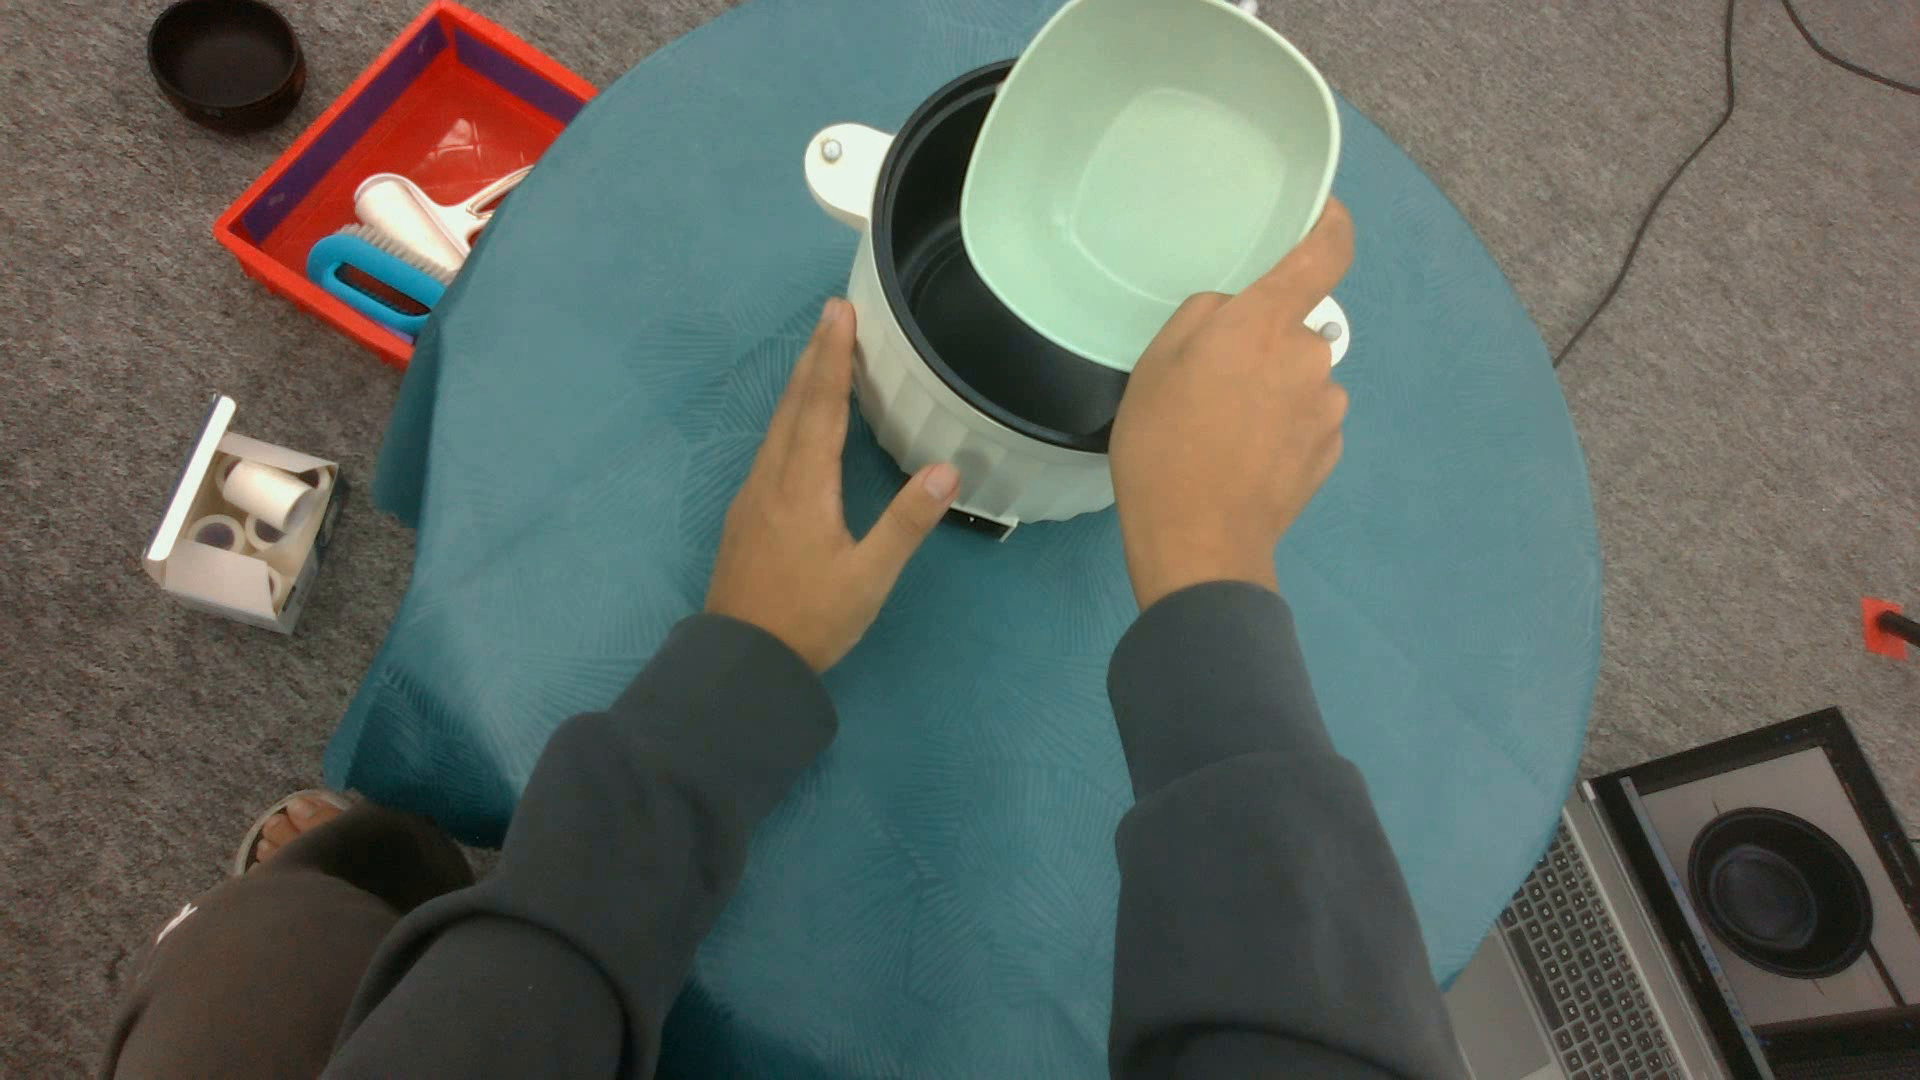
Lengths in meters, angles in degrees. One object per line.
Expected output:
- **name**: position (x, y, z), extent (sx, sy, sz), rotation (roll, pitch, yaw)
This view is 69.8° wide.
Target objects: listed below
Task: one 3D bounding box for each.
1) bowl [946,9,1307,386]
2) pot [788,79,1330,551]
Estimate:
- **bowl**: position (0.073, -0.138, 0.571), extent (0.151, 0.059, 0.151), rotation (2, 95, 23)
- **pot**: position (0.032, -0.103, 0.642), extent (0.240, 0.142, 0.191), rotation (13, 72, -10)
